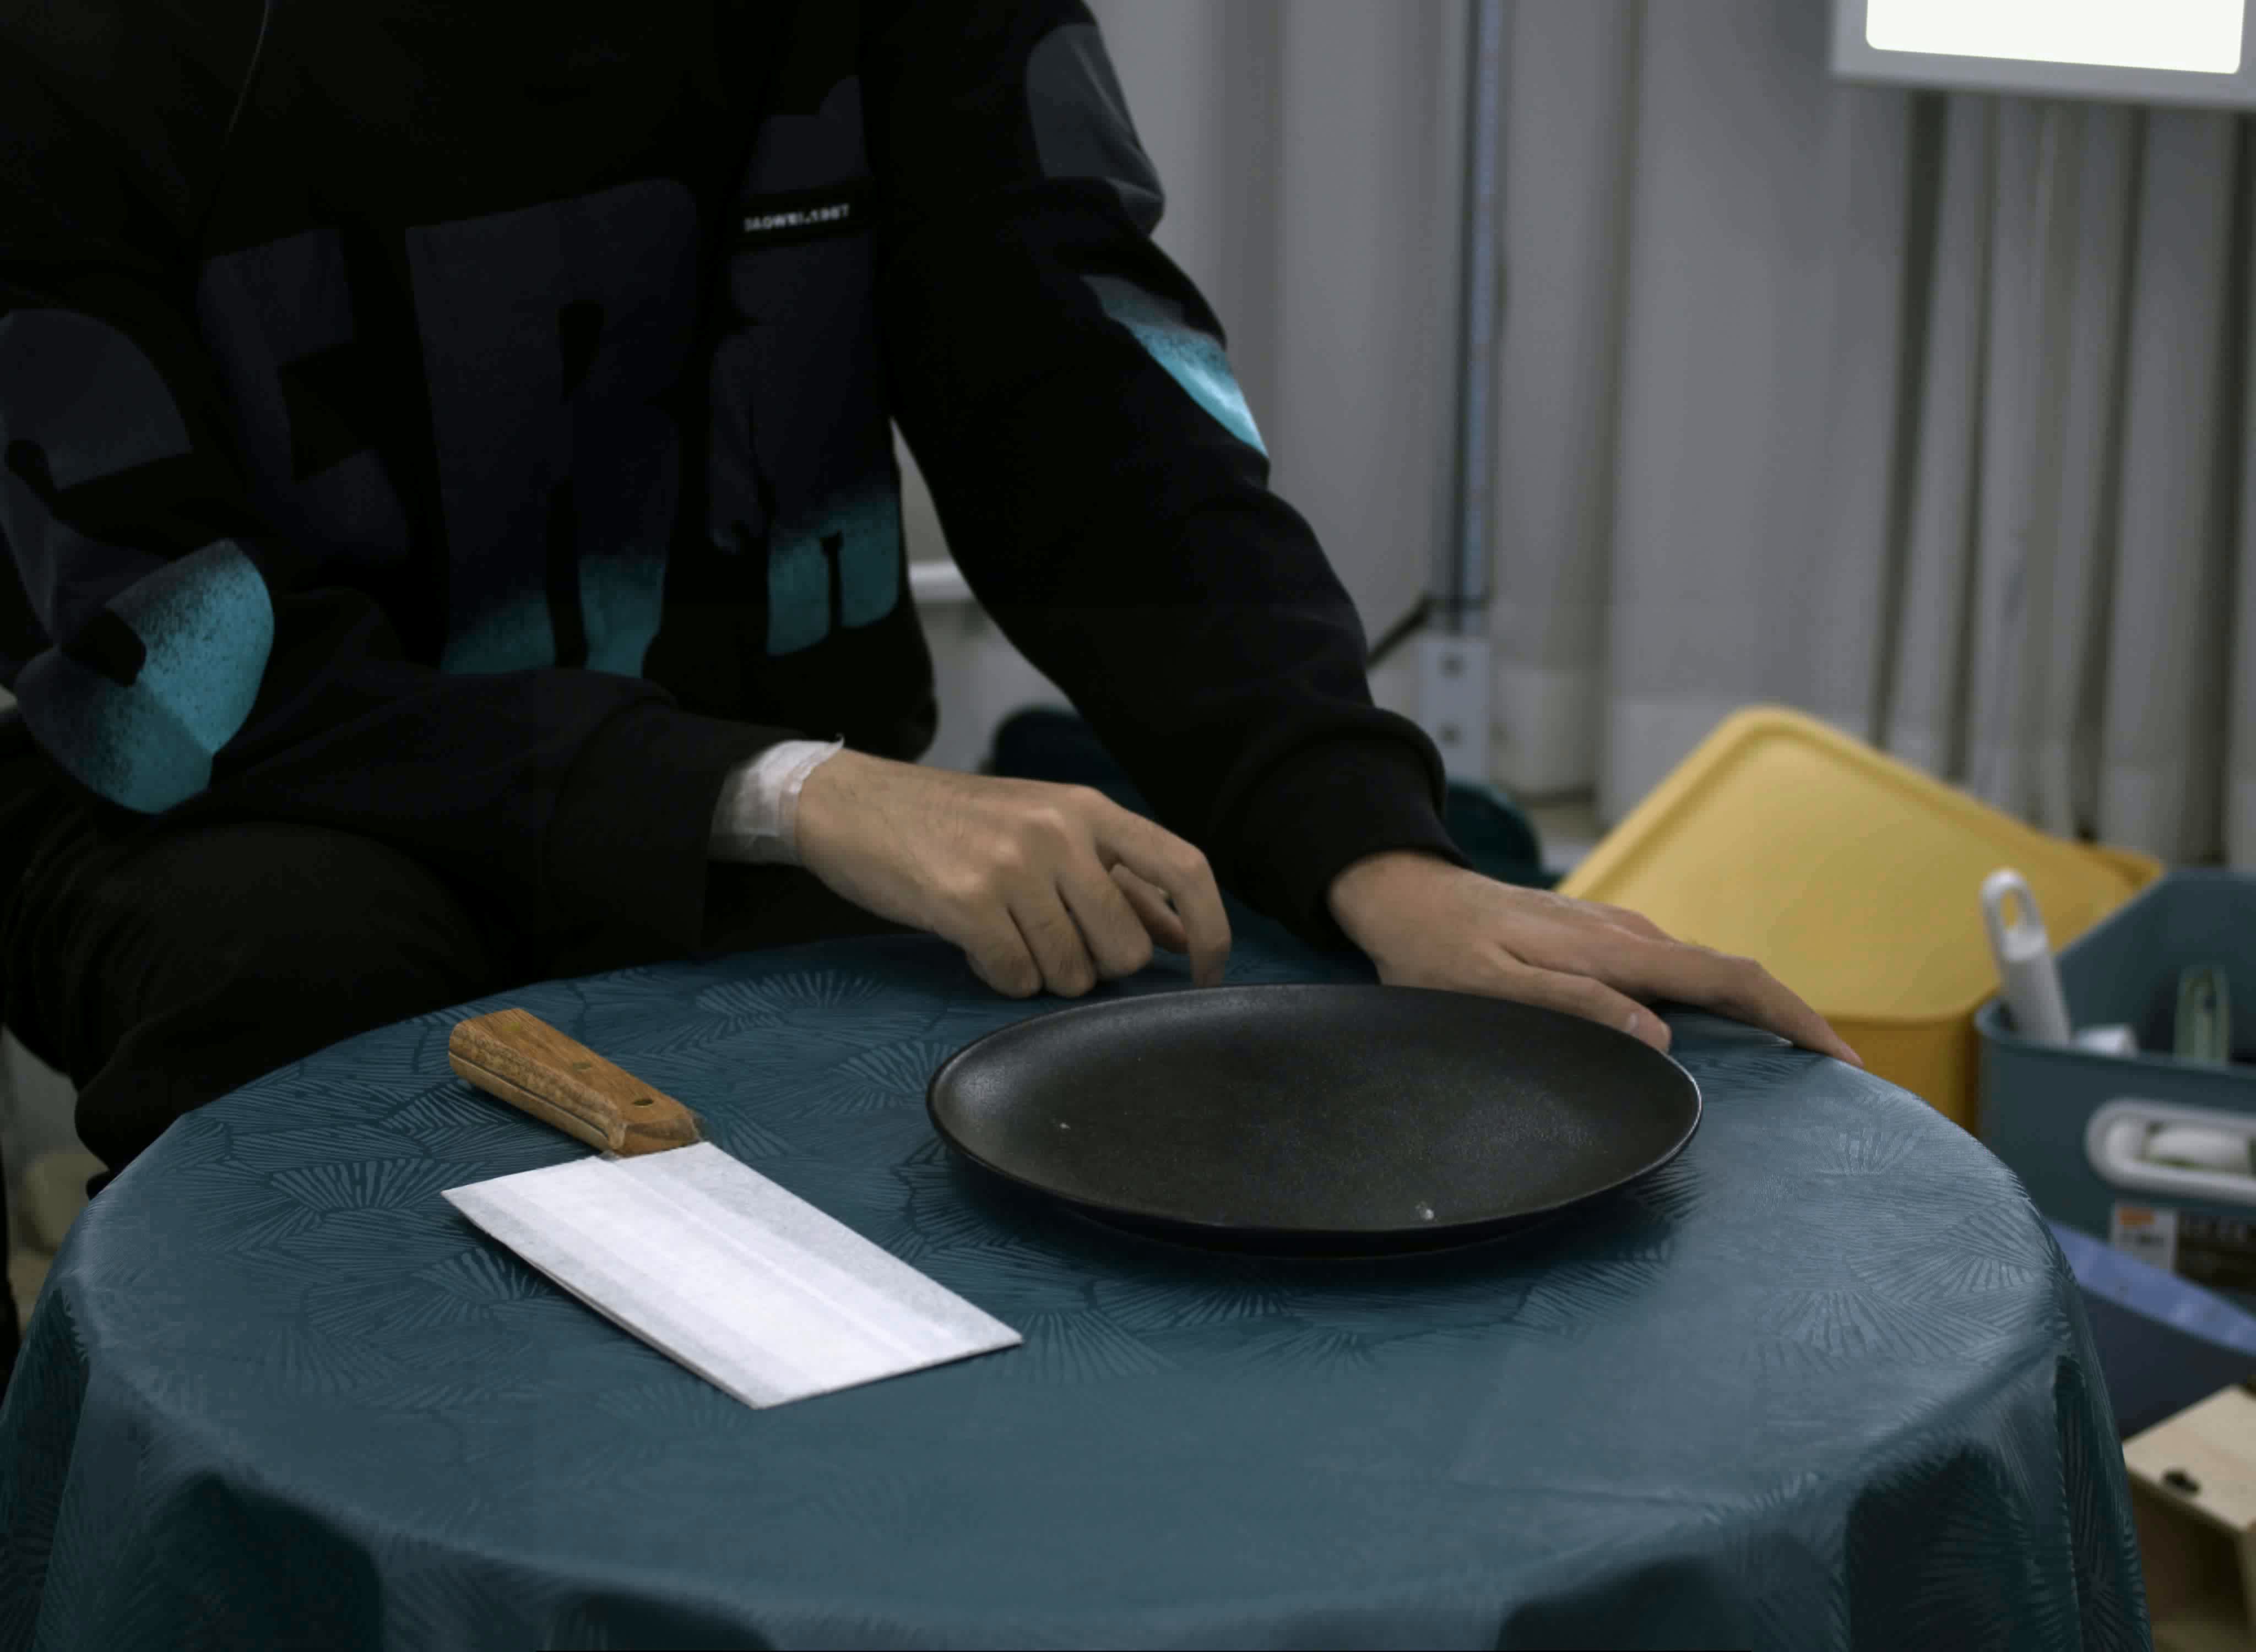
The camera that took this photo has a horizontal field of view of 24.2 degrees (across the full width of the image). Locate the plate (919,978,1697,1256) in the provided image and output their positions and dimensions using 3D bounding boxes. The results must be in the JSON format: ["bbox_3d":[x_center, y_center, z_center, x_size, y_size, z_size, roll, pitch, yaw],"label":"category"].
[{"bbox_3d":[0.056,0.093,1.647,0.243,0.023,0.243,1,16,0],"label":"plate"}]

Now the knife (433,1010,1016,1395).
[{"bbox_3d":[-0.150,0.113,1.587,0.093,0.021,0.301,-12,22,-33],"label":"knife"}]
